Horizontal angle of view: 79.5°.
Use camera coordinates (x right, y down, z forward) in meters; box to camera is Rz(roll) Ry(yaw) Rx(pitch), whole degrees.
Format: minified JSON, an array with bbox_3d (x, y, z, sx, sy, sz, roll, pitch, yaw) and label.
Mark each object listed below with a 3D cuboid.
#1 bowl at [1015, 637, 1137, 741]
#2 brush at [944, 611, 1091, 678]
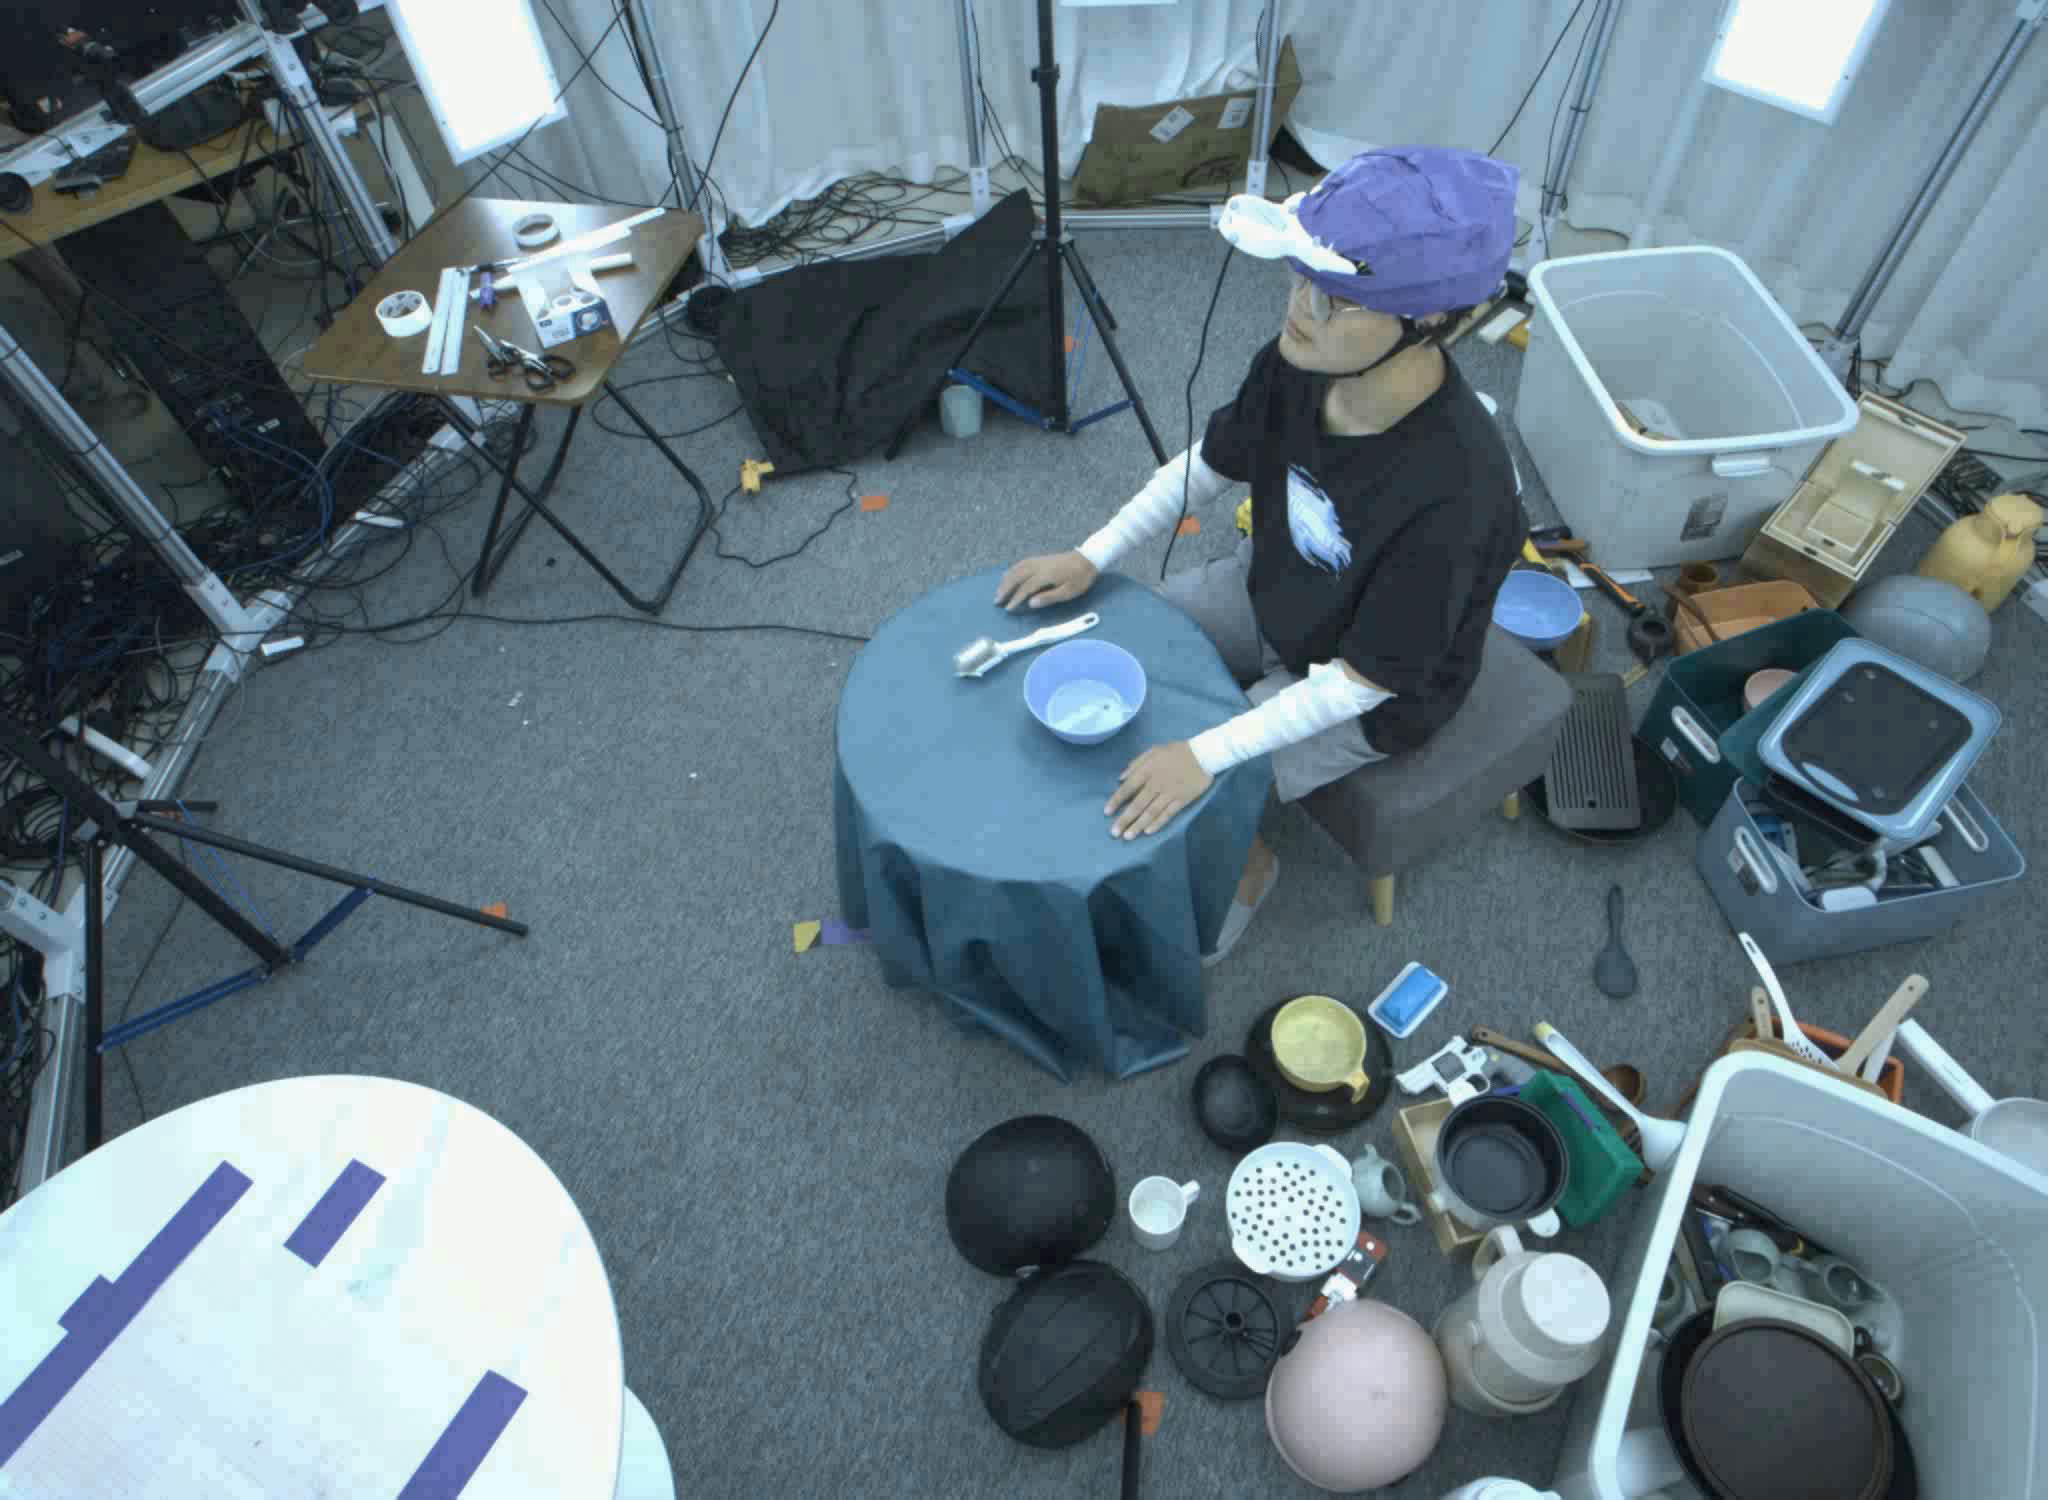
[{"bbox_3d":[0.075,-0.079,1.788,0.176,0.071,0.174,0,55,1],"label":"bowl"},{"bbox_3d":[-0.007,-0.174,1.873,0.245,0.051,0.034,-24,58,-13],"label":"brush"}]
